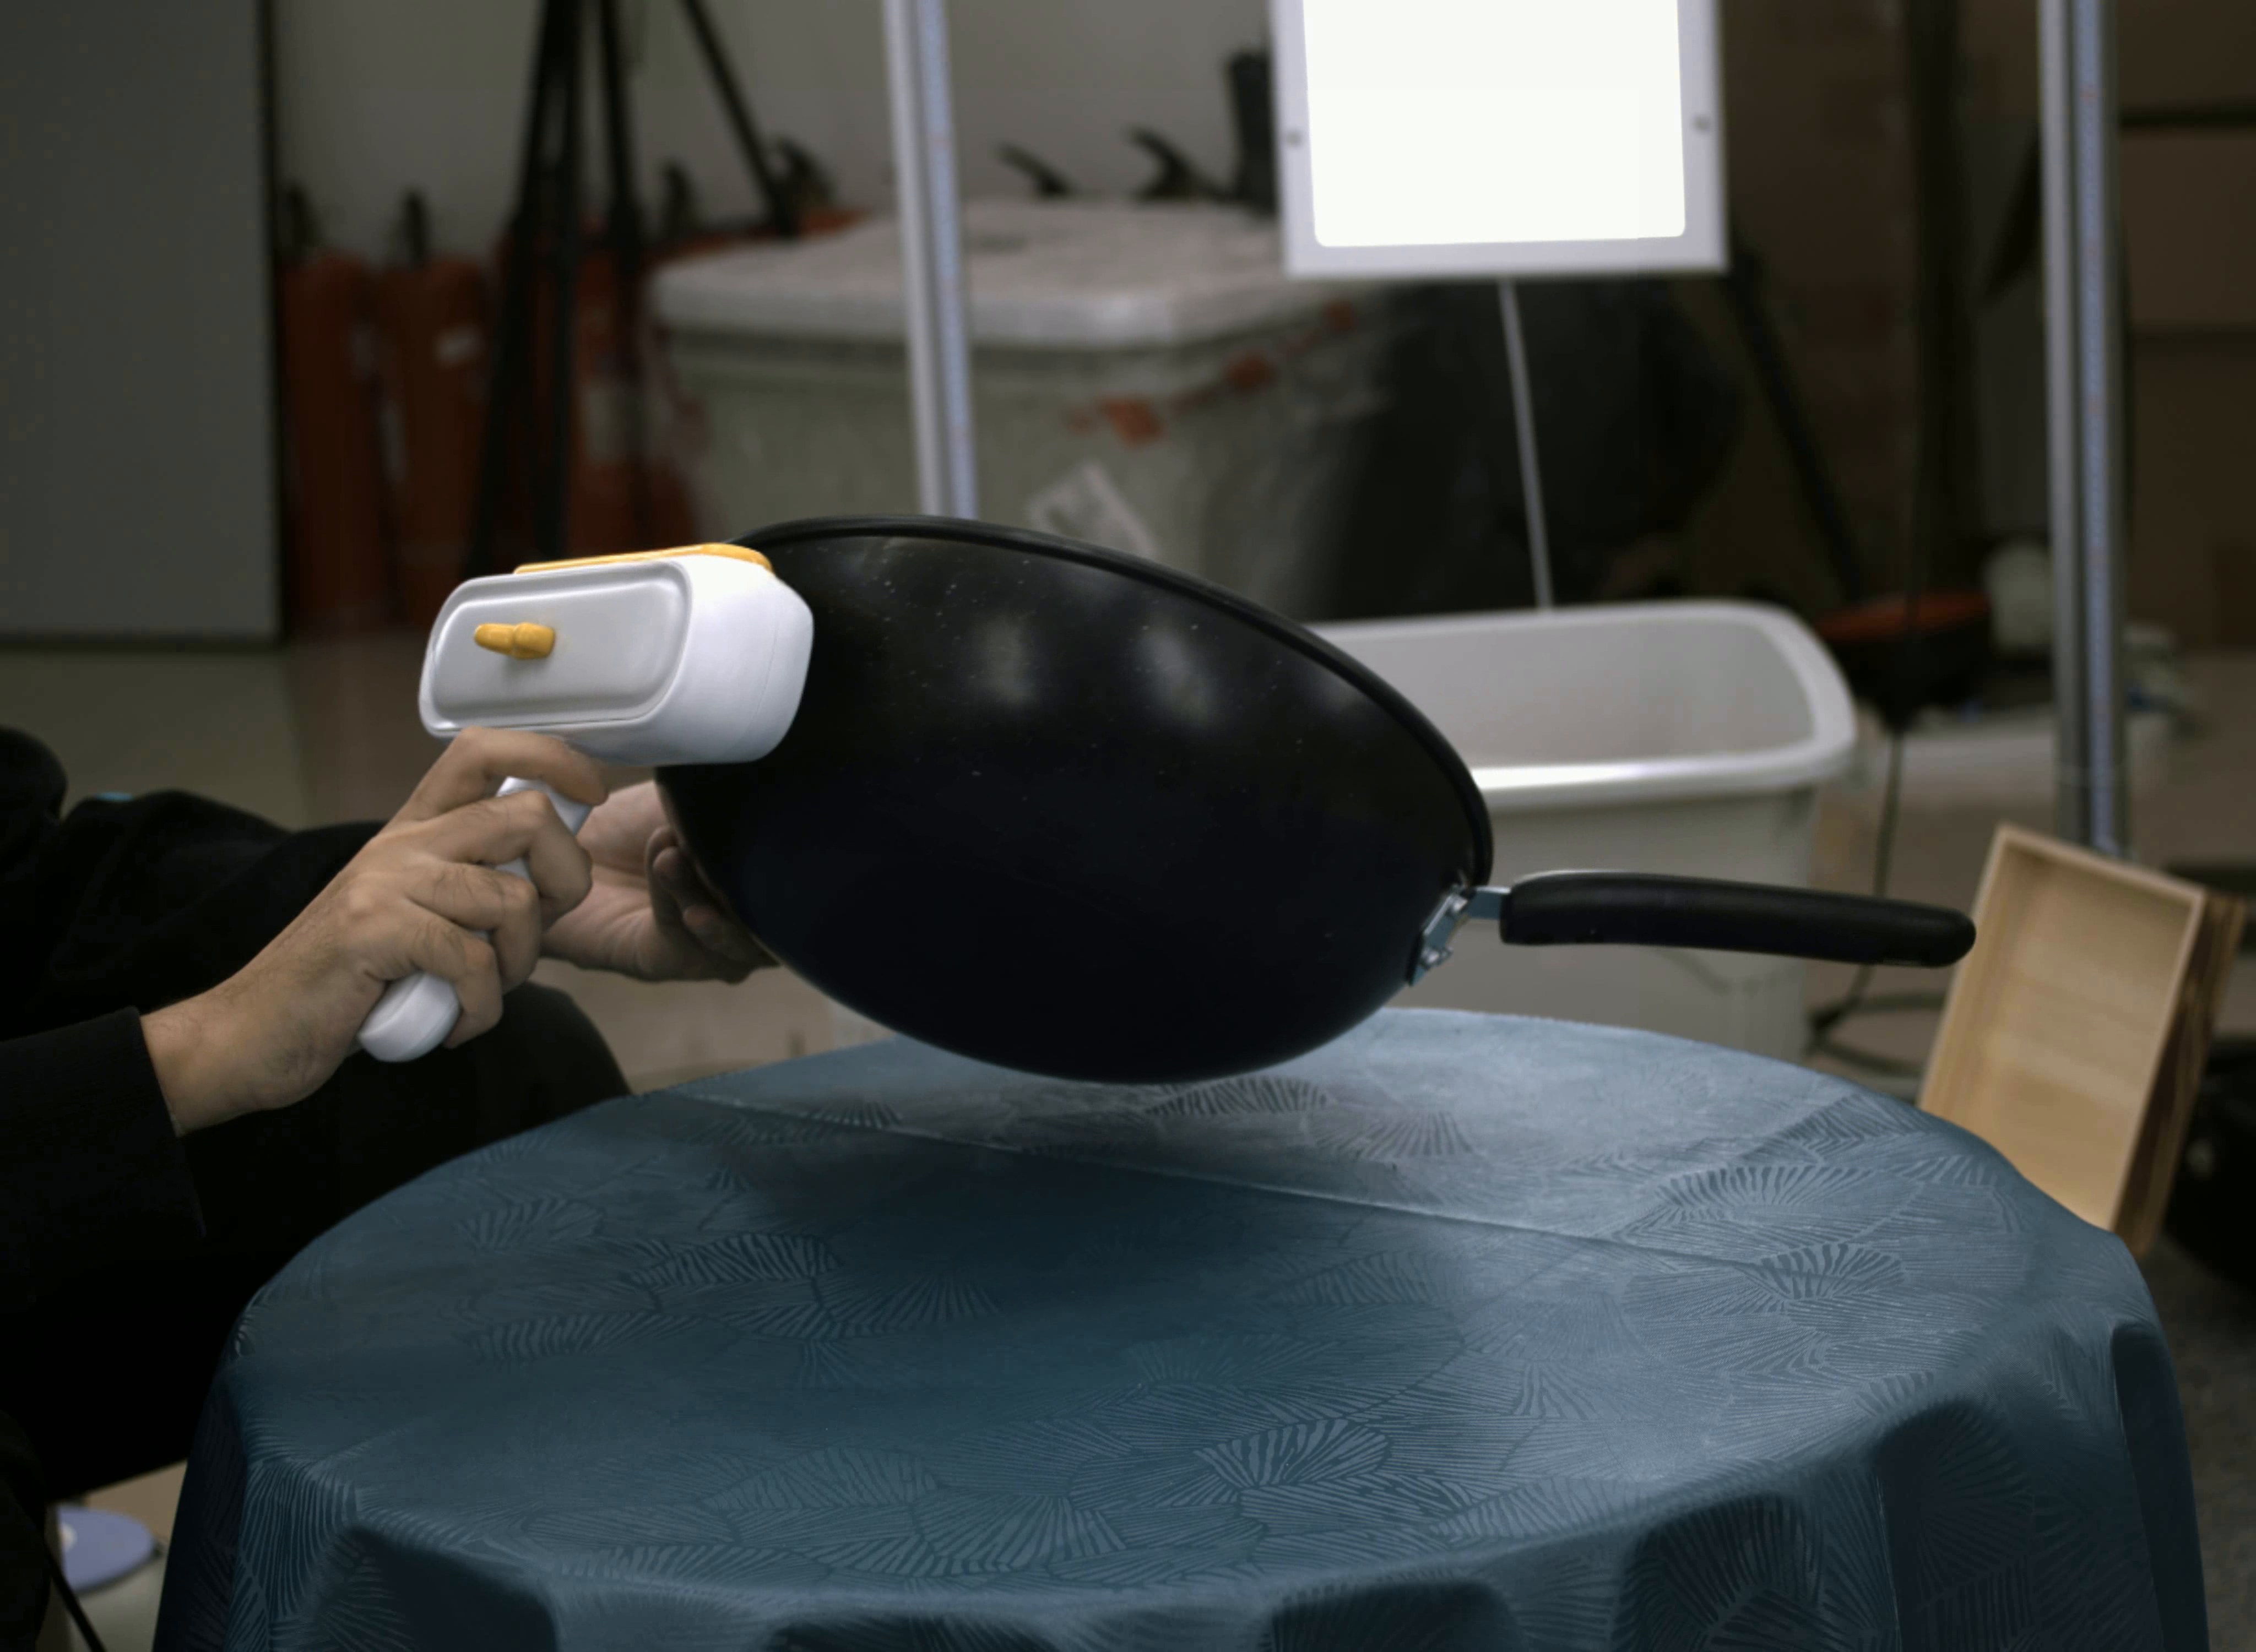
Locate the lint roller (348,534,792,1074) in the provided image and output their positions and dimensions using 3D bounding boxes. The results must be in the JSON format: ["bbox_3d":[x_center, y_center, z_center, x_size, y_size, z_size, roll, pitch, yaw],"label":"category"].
[{"bbox_3d":[-0.200,-0.002,1.814,0.073,0.192,0.197,28,-20,-35],"label":"lint roller"}]

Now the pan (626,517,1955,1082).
[{"bbox_3d":[0.044,0.022,1.885,0.477,0.111,0.312,15,-25,4],"label":"pan"}]
